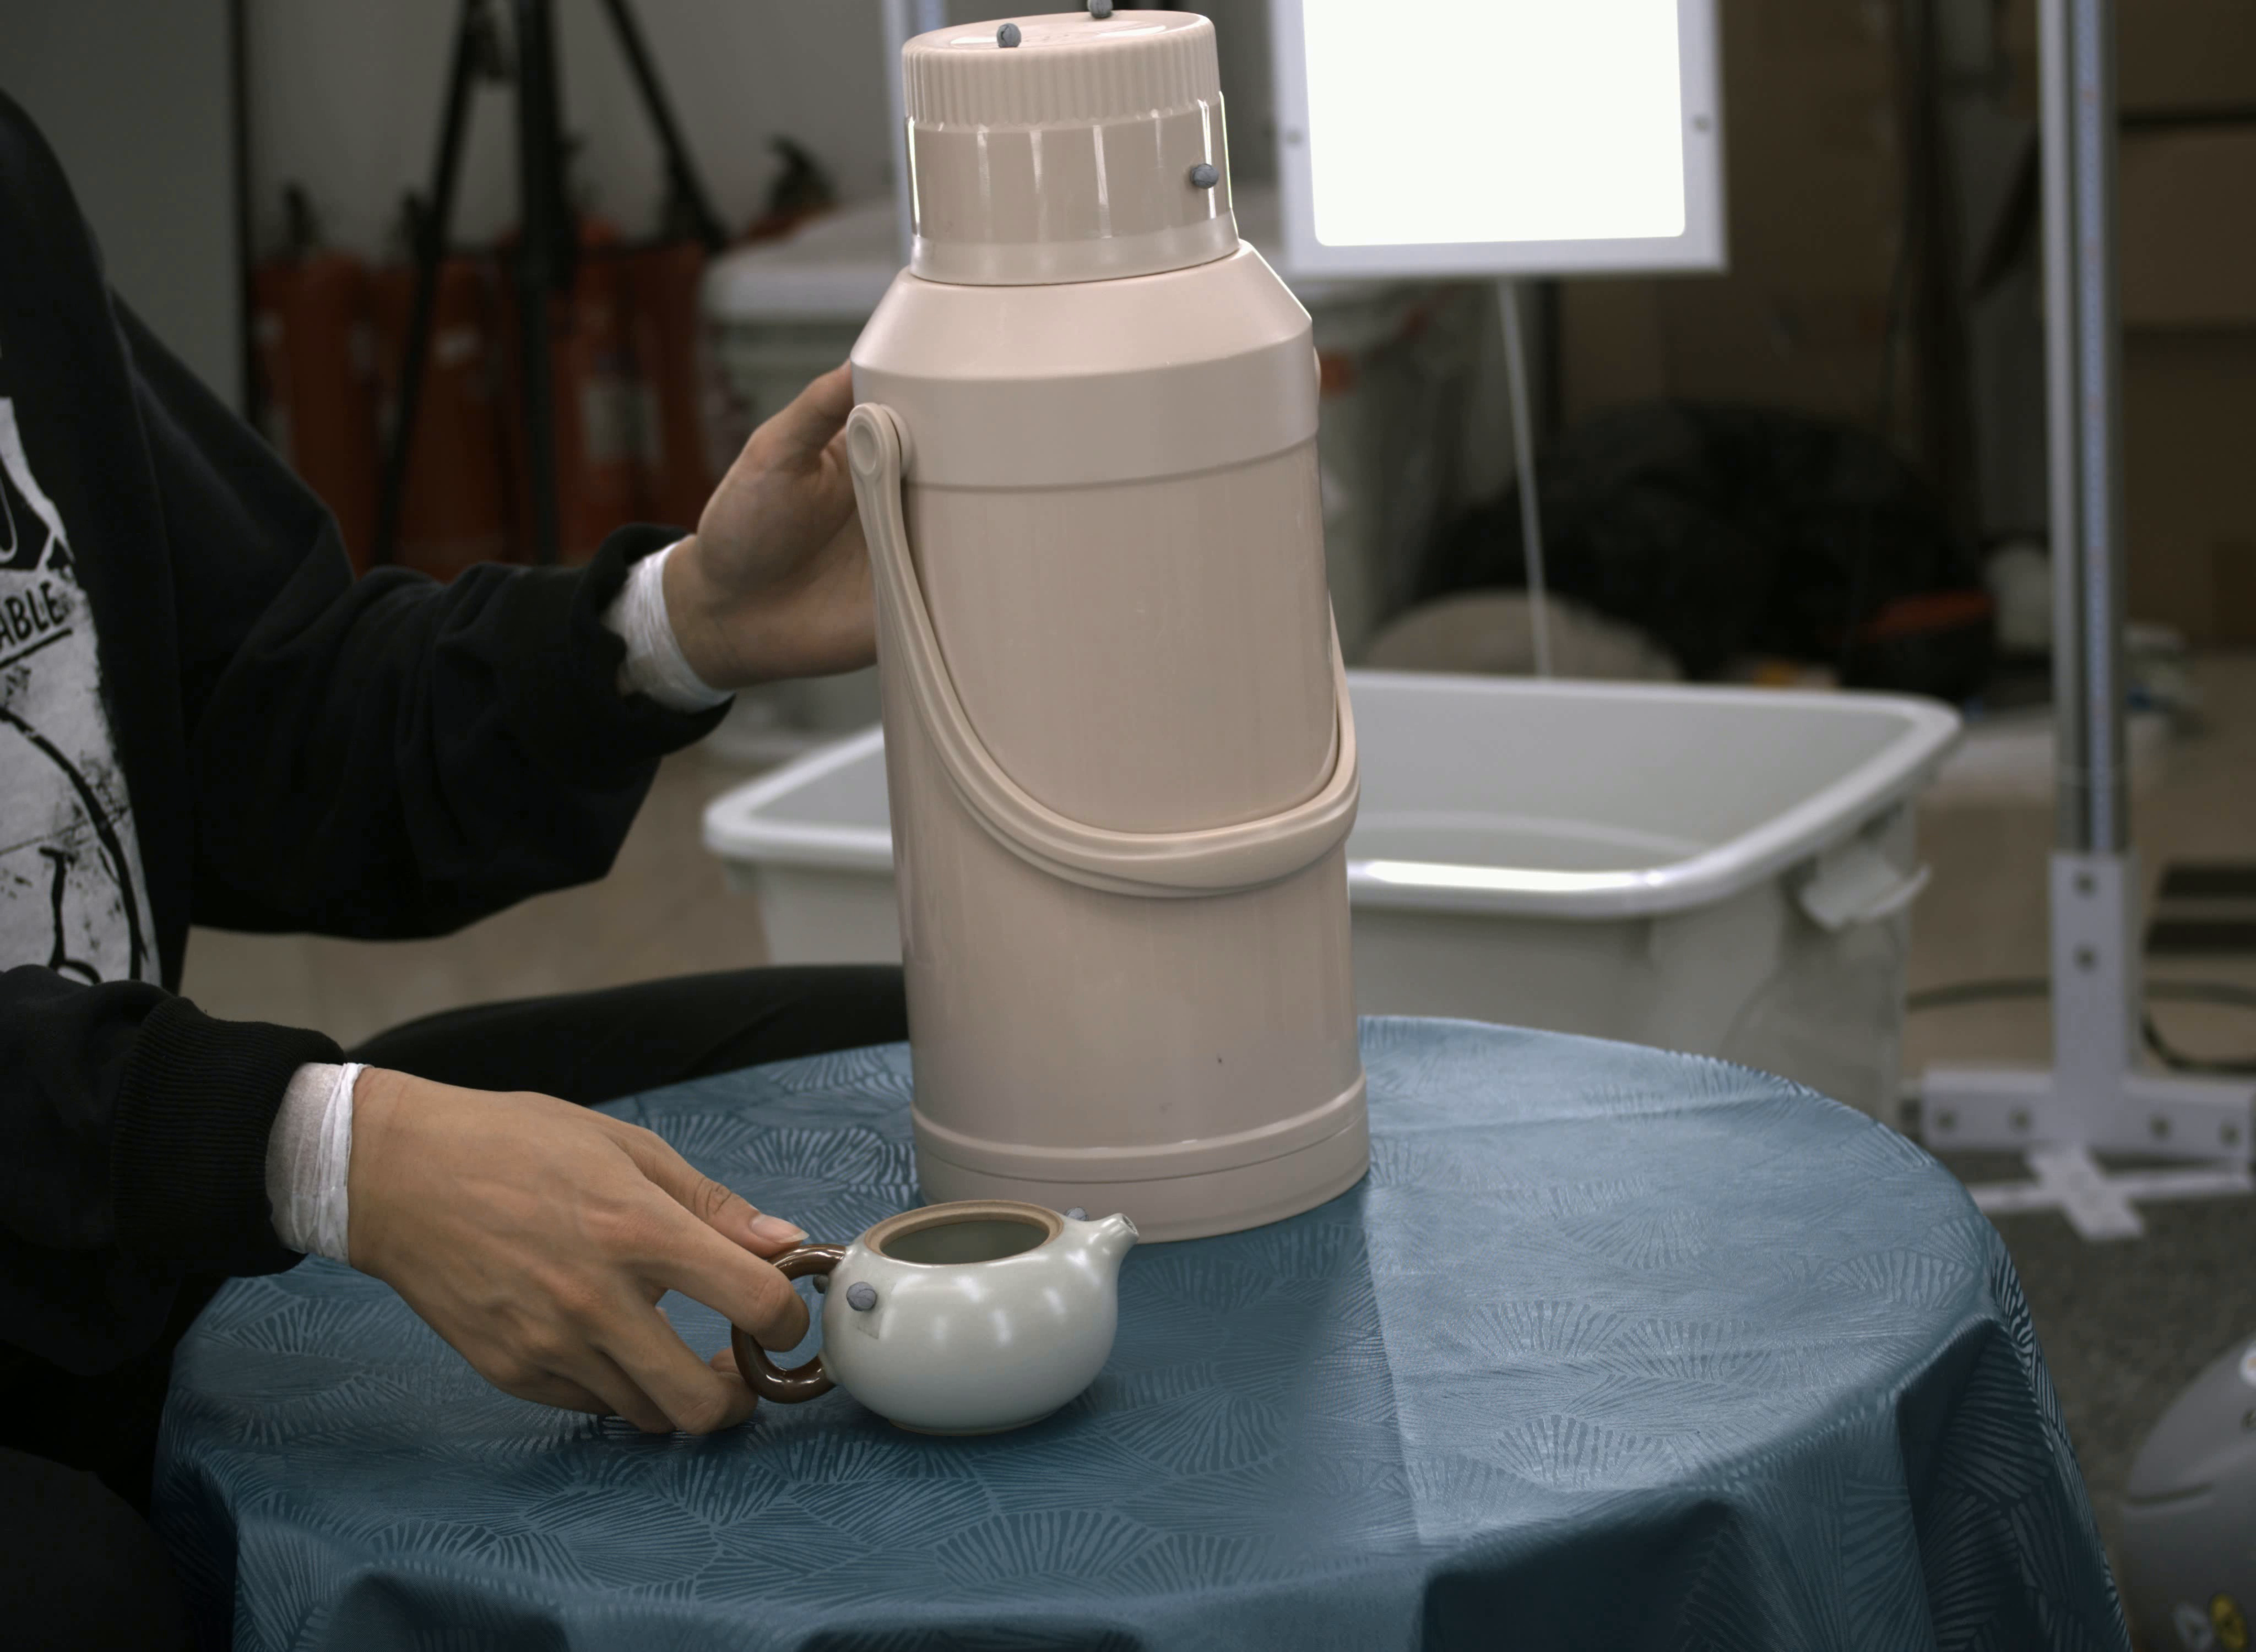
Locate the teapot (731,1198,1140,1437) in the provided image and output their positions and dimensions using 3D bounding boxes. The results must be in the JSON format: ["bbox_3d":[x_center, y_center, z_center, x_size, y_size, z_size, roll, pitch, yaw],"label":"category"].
[{"bbox_3d":[-0.058,0.152,1.696,0.127,0.060,0.092,-5,17,-5],"label":"teapot"}]

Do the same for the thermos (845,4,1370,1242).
[{"bbox_3d":[-0.016,-0.073,1.884,0.171,0.408,0.211,-15,18,-31],"label":"thermos"}]
